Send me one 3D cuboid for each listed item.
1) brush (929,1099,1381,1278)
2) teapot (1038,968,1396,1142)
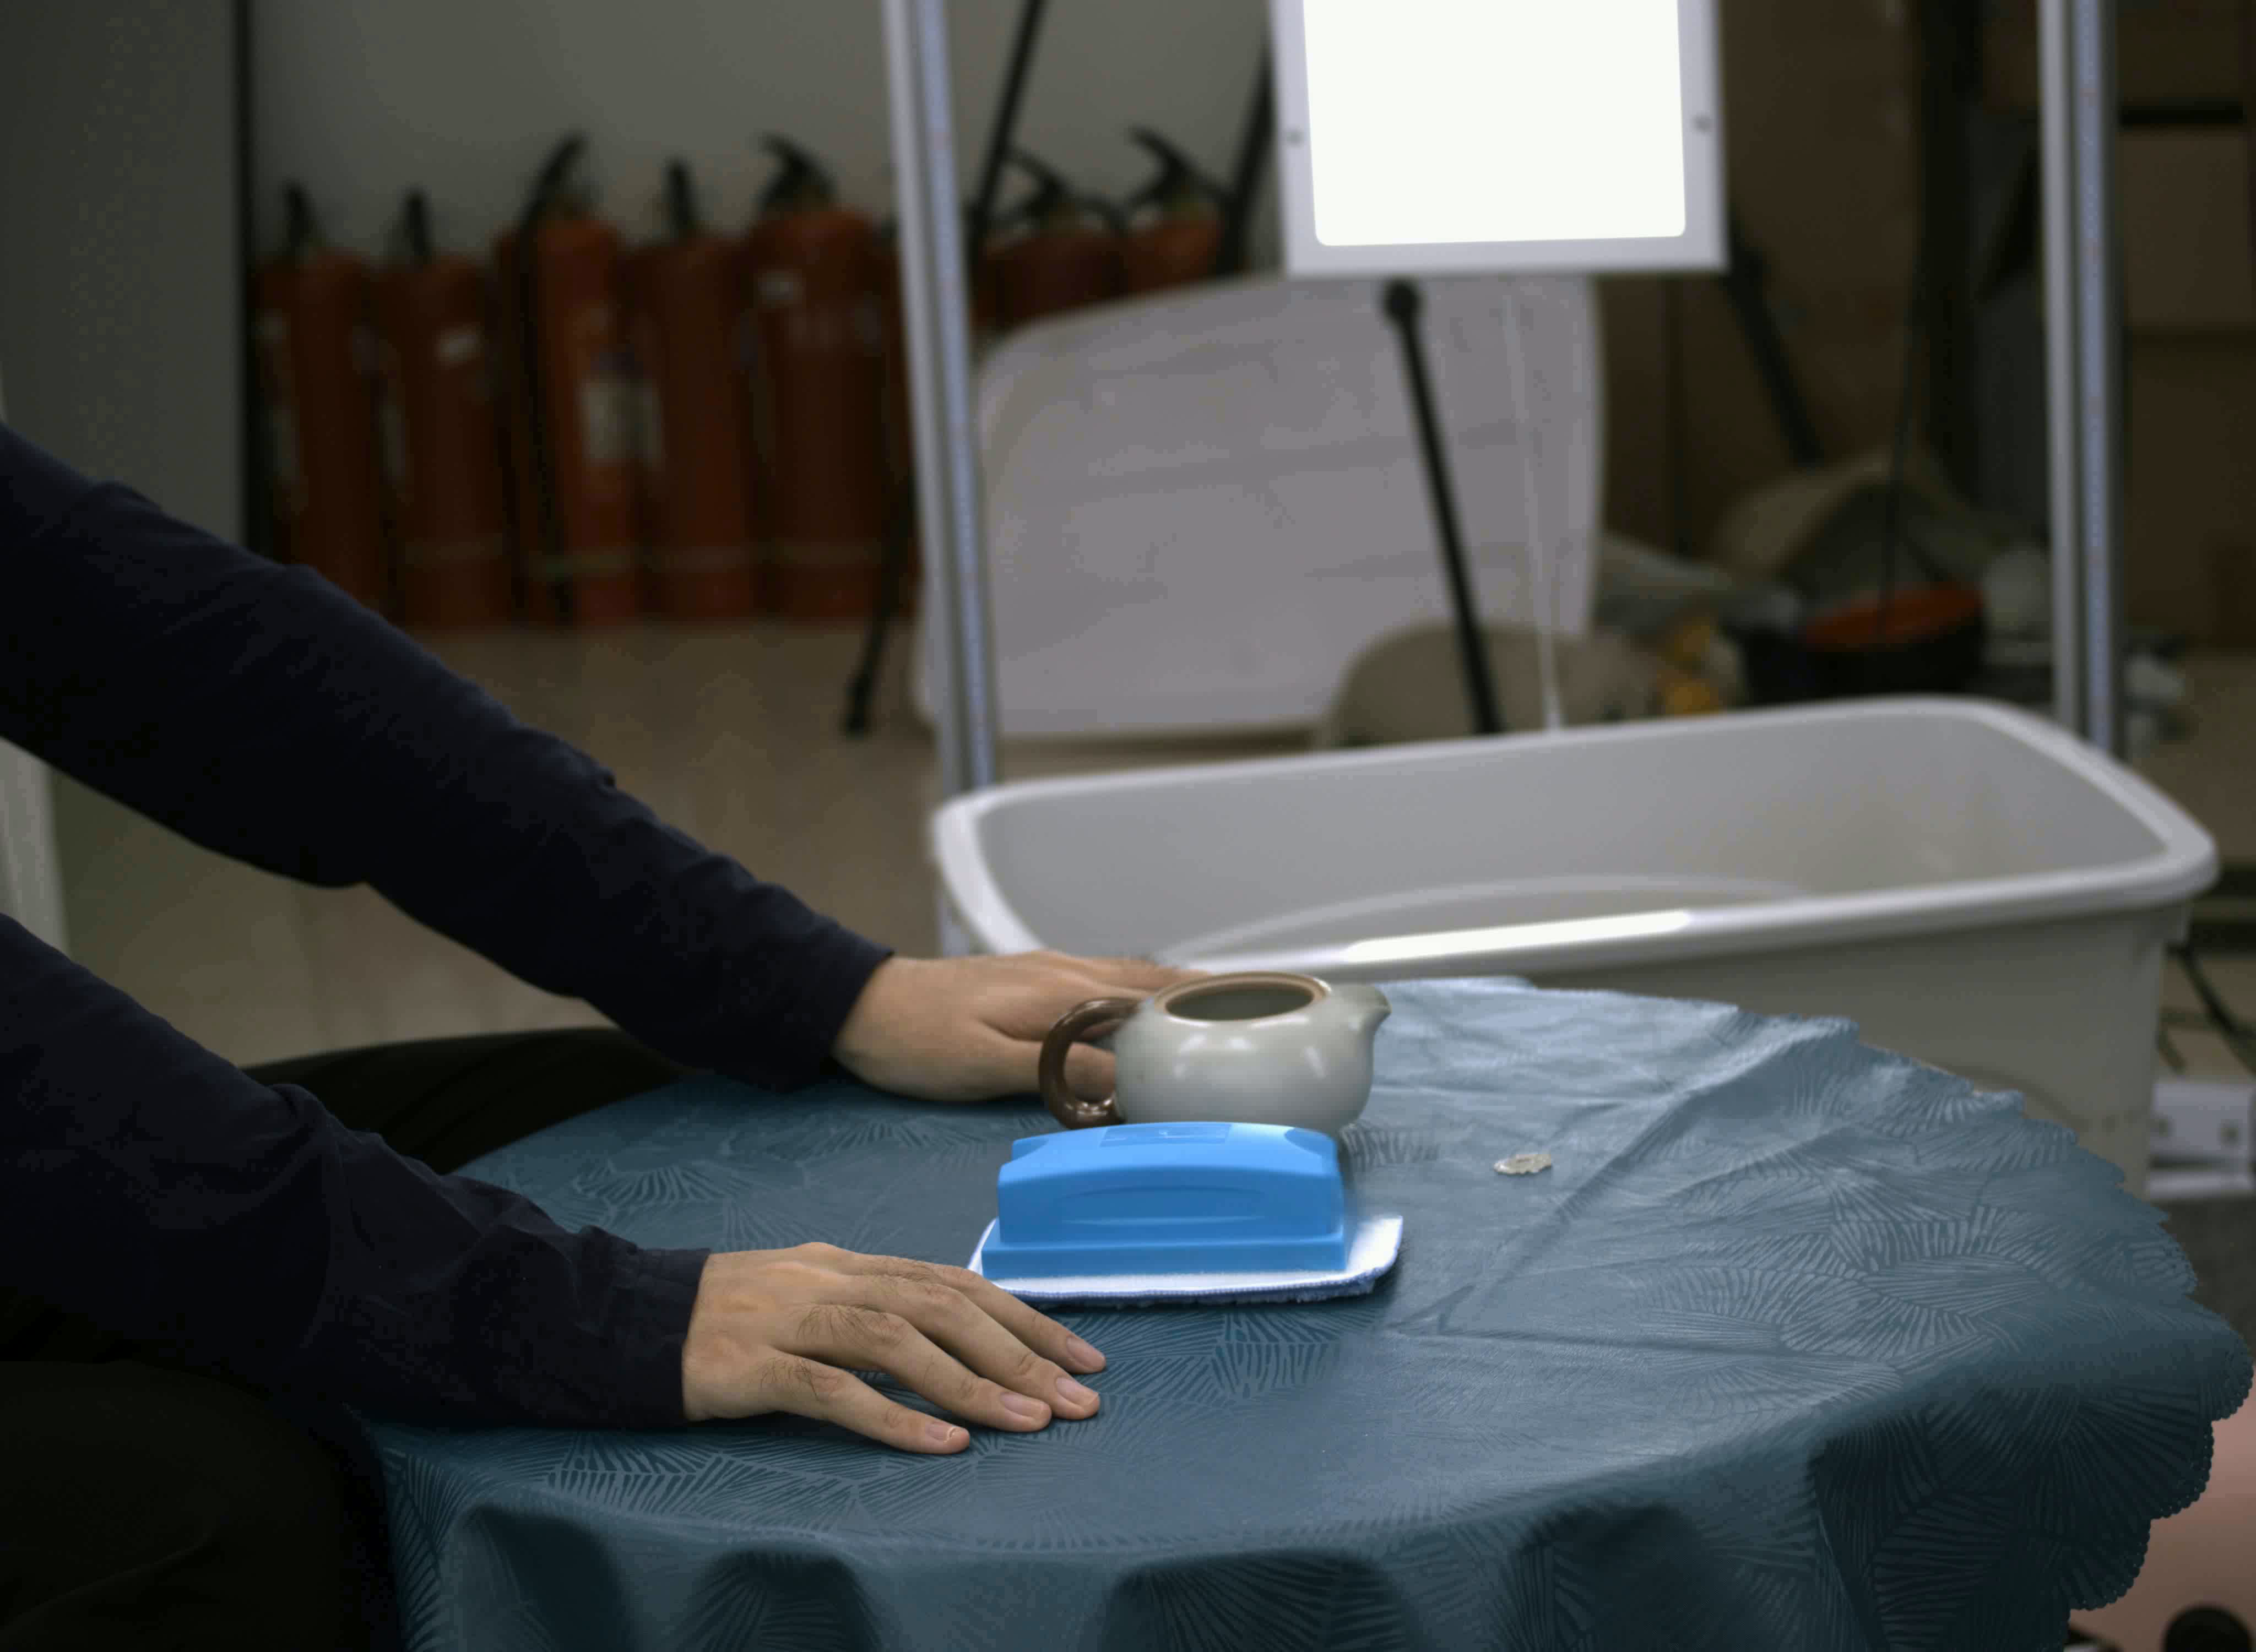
[{"bbox_3d":[0.010,0.119,1.799,0.145,0.056,0.083,1,11,13],"label":"brush"},{"bbox_3d":[0.032,0.085,1.930,0.129,0.060,0.091,-1,17,9],"label":"teapot"}]
